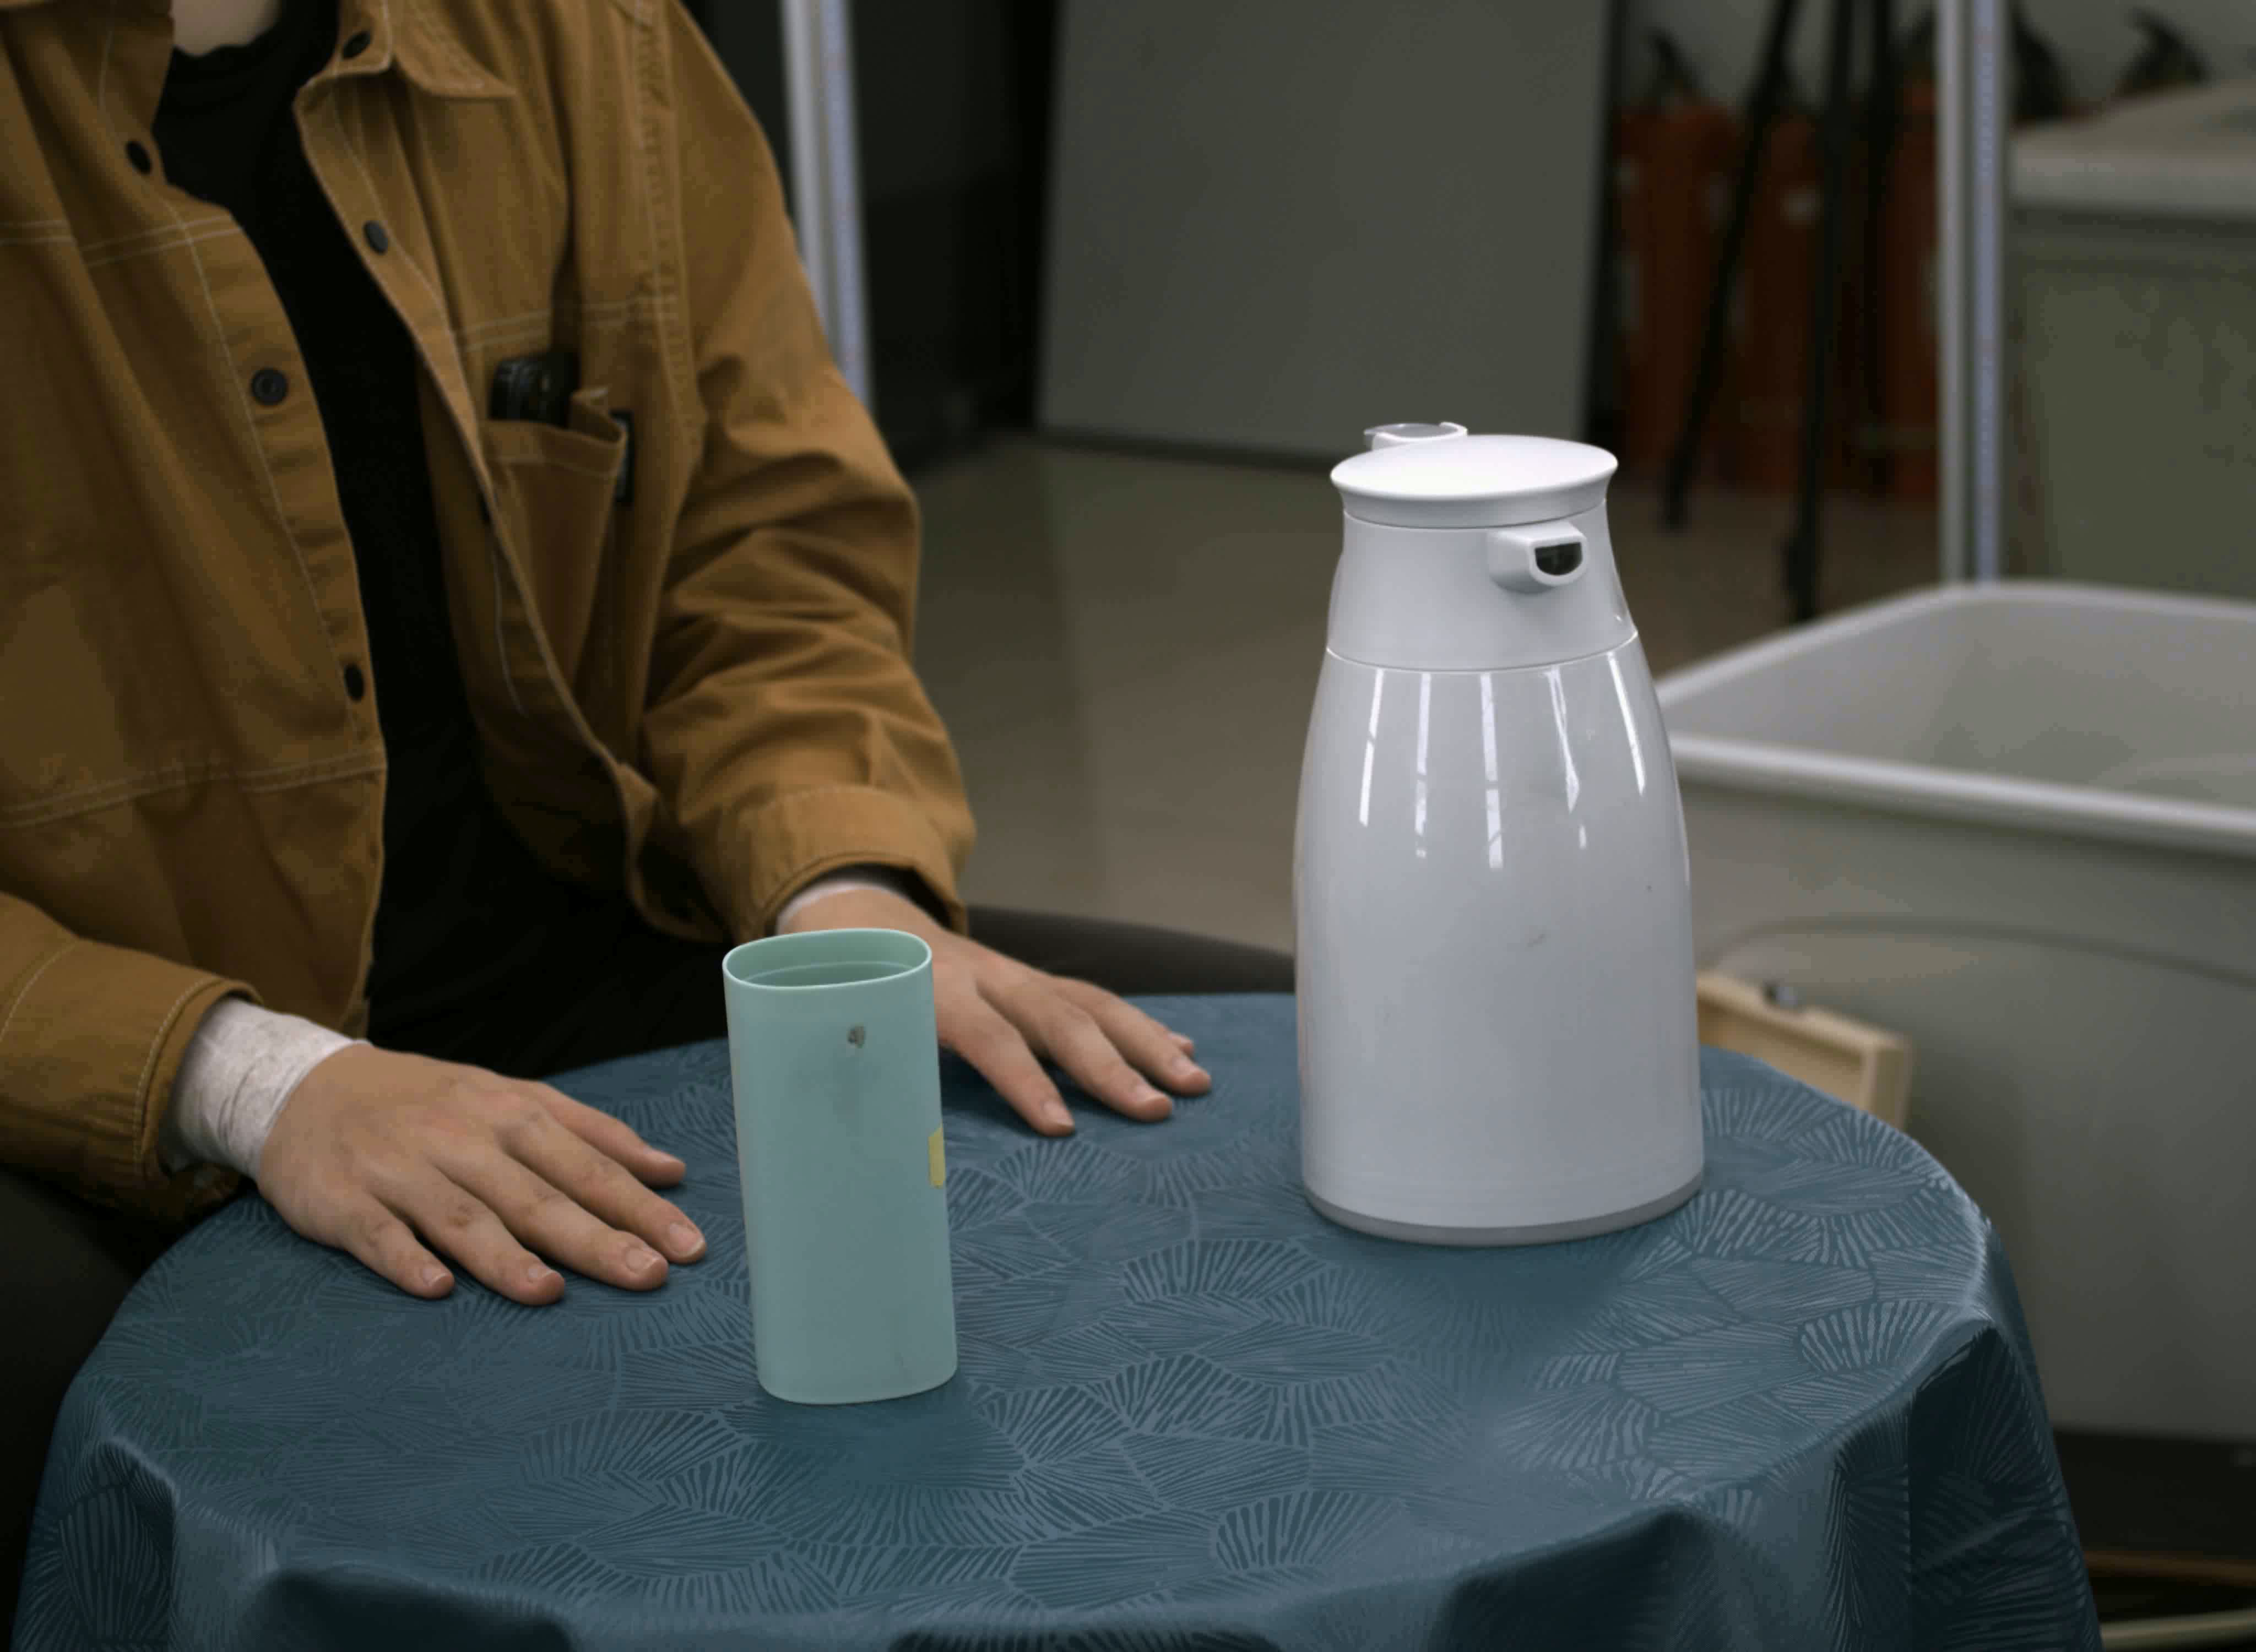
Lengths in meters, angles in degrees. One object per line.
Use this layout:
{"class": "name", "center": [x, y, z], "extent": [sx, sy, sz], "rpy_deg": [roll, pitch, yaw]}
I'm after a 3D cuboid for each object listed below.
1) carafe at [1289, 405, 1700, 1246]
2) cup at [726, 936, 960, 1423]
{"class": "carafe", "center": [0.106, -0.008, 1.744], "extent": [0.130, 0.251, 0.169], "rpy_deg": [-9, 14, -20]}
{"class": "cup", "center": [-0.085, 0.105, 1.609], "extent": [0.066, 0.134, 0.067], "rpy_deg": [-4, 13, 0]}
